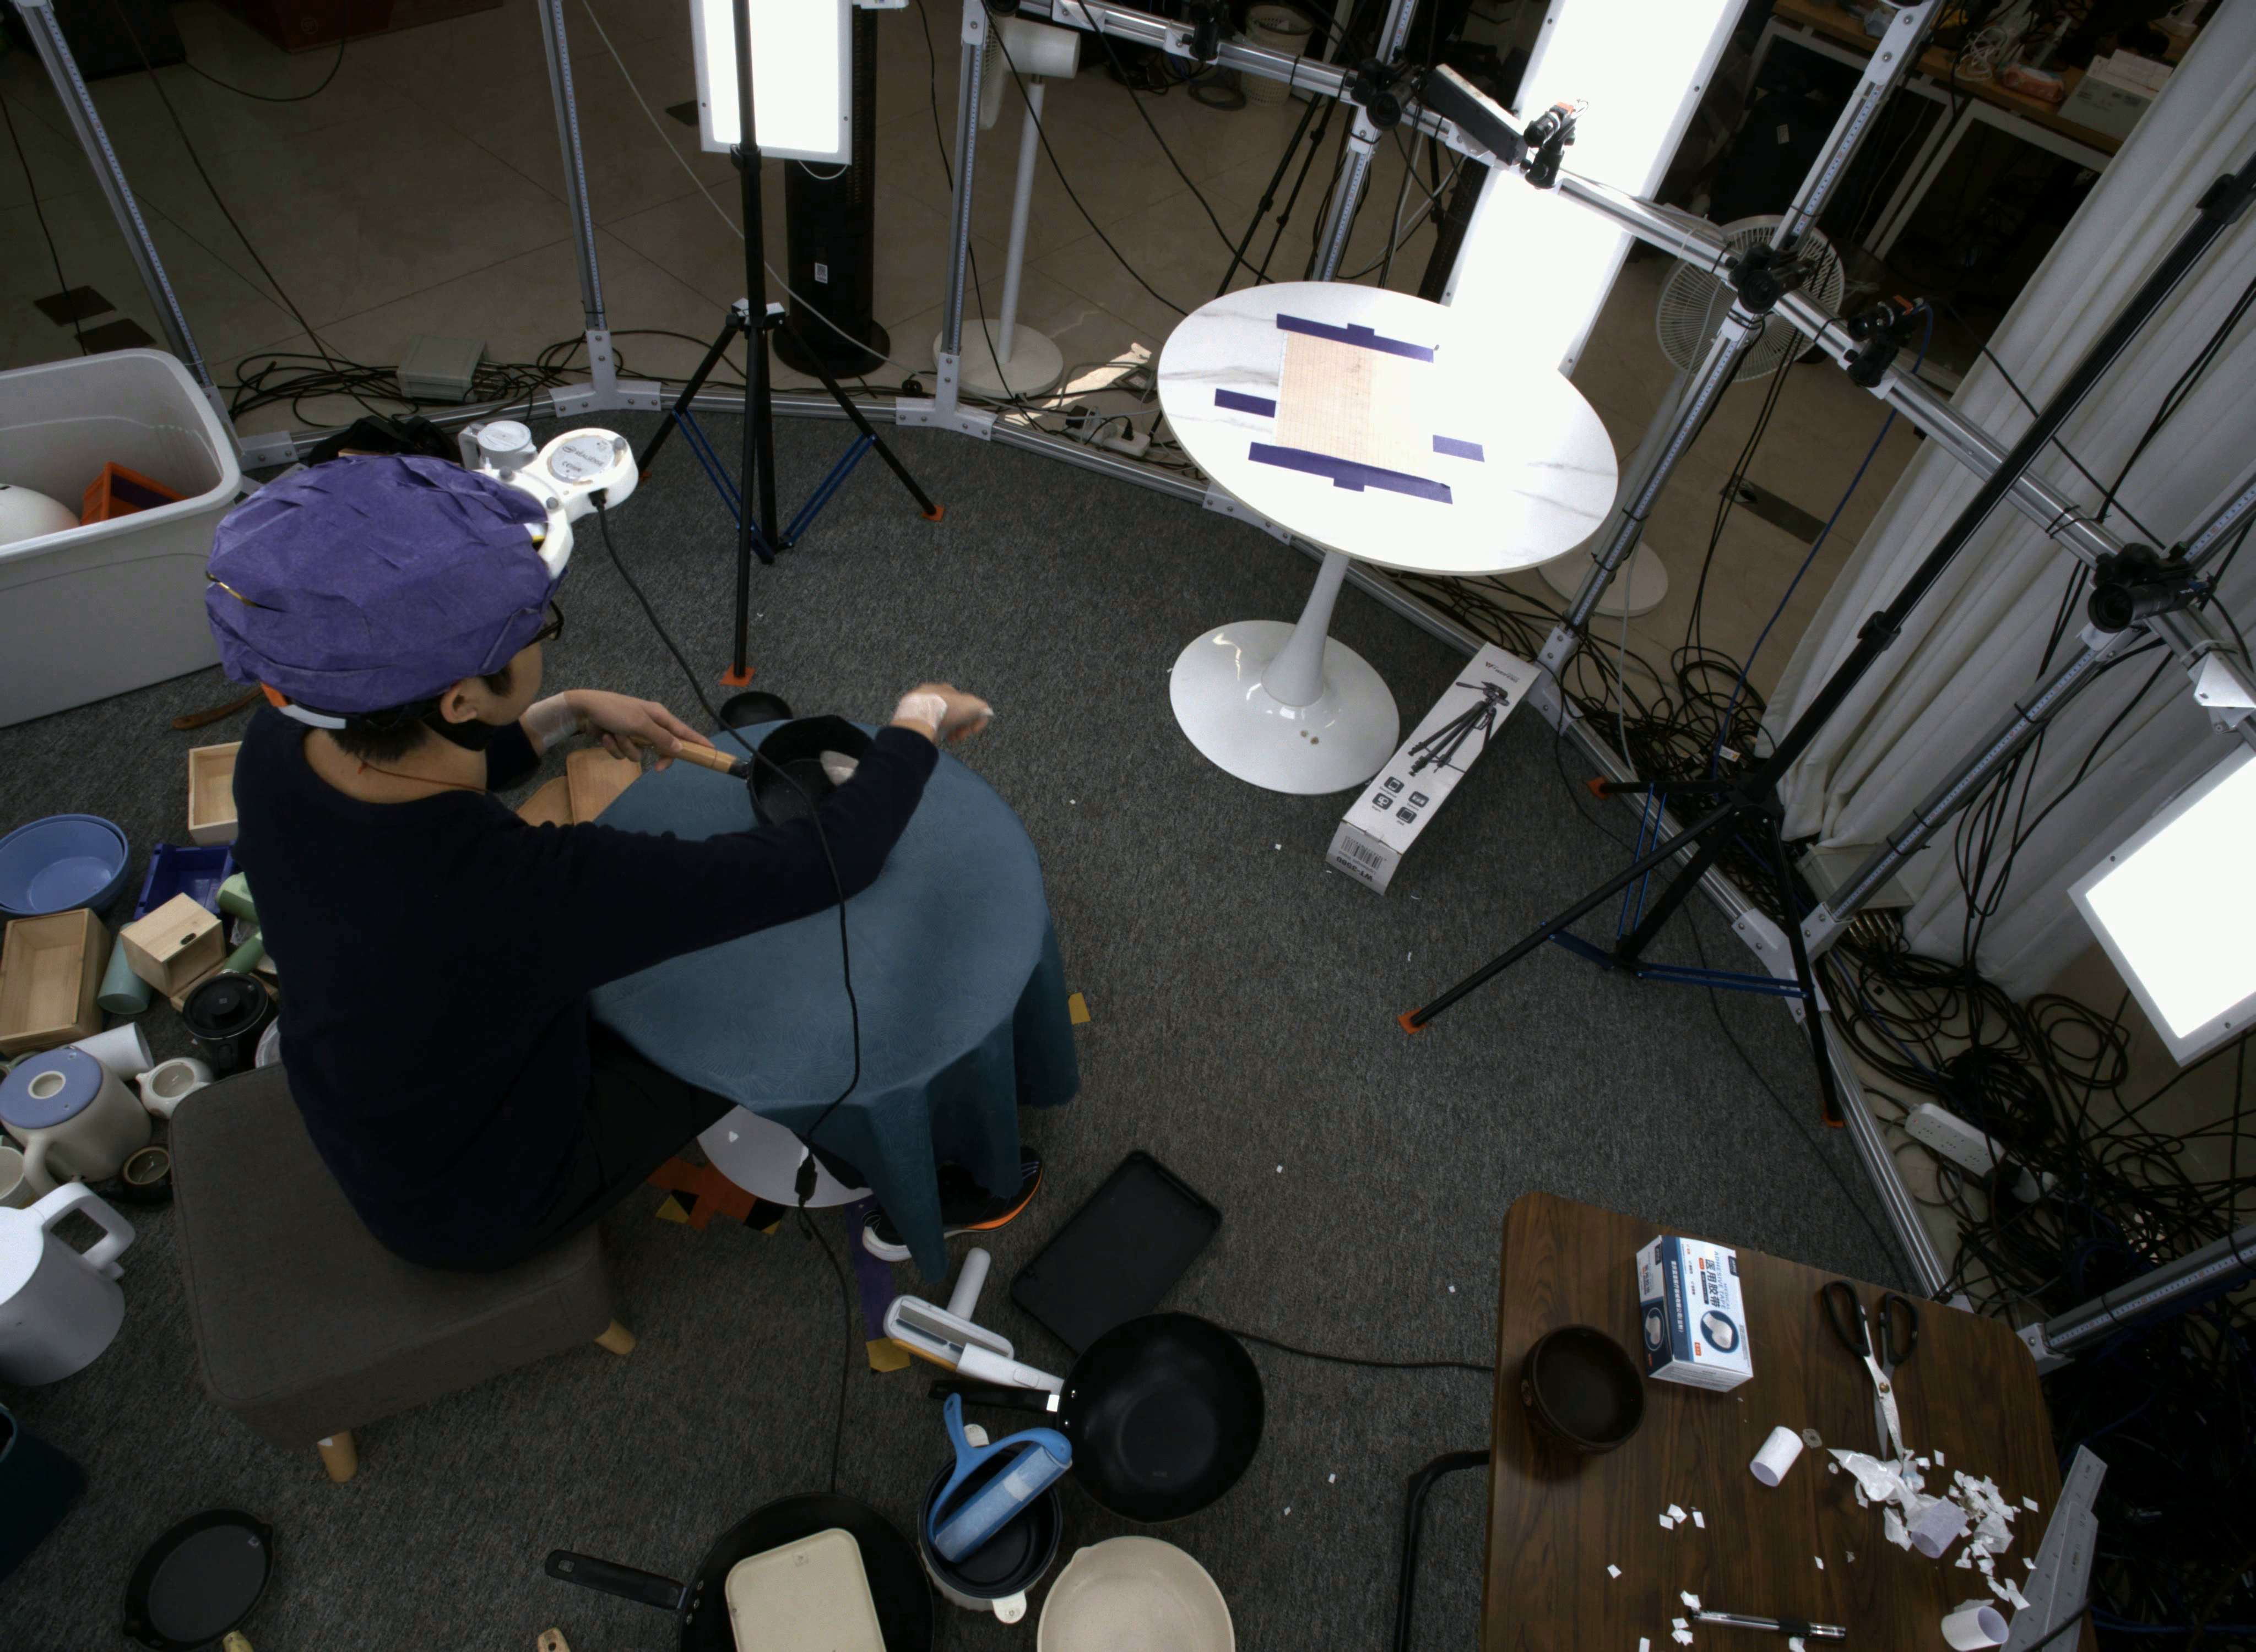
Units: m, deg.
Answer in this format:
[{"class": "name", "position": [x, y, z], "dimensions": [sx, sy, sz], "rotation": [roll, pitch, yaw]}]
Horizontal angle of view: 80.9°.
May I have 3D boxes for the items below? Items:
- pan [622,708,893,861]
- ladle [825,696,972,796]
[{"class": "pan", "position": [-0.473, -0.063, 1.640], "dimensions": [0.347, 0.108, 0.205], "rotation": [12, 62, -21]}, {"class": "ladle", "position": [-0.283, -0.119, 1.626], "dimensions": [0.092, 0.271, 0.068], "rotation": [18, 52, -40]}]
